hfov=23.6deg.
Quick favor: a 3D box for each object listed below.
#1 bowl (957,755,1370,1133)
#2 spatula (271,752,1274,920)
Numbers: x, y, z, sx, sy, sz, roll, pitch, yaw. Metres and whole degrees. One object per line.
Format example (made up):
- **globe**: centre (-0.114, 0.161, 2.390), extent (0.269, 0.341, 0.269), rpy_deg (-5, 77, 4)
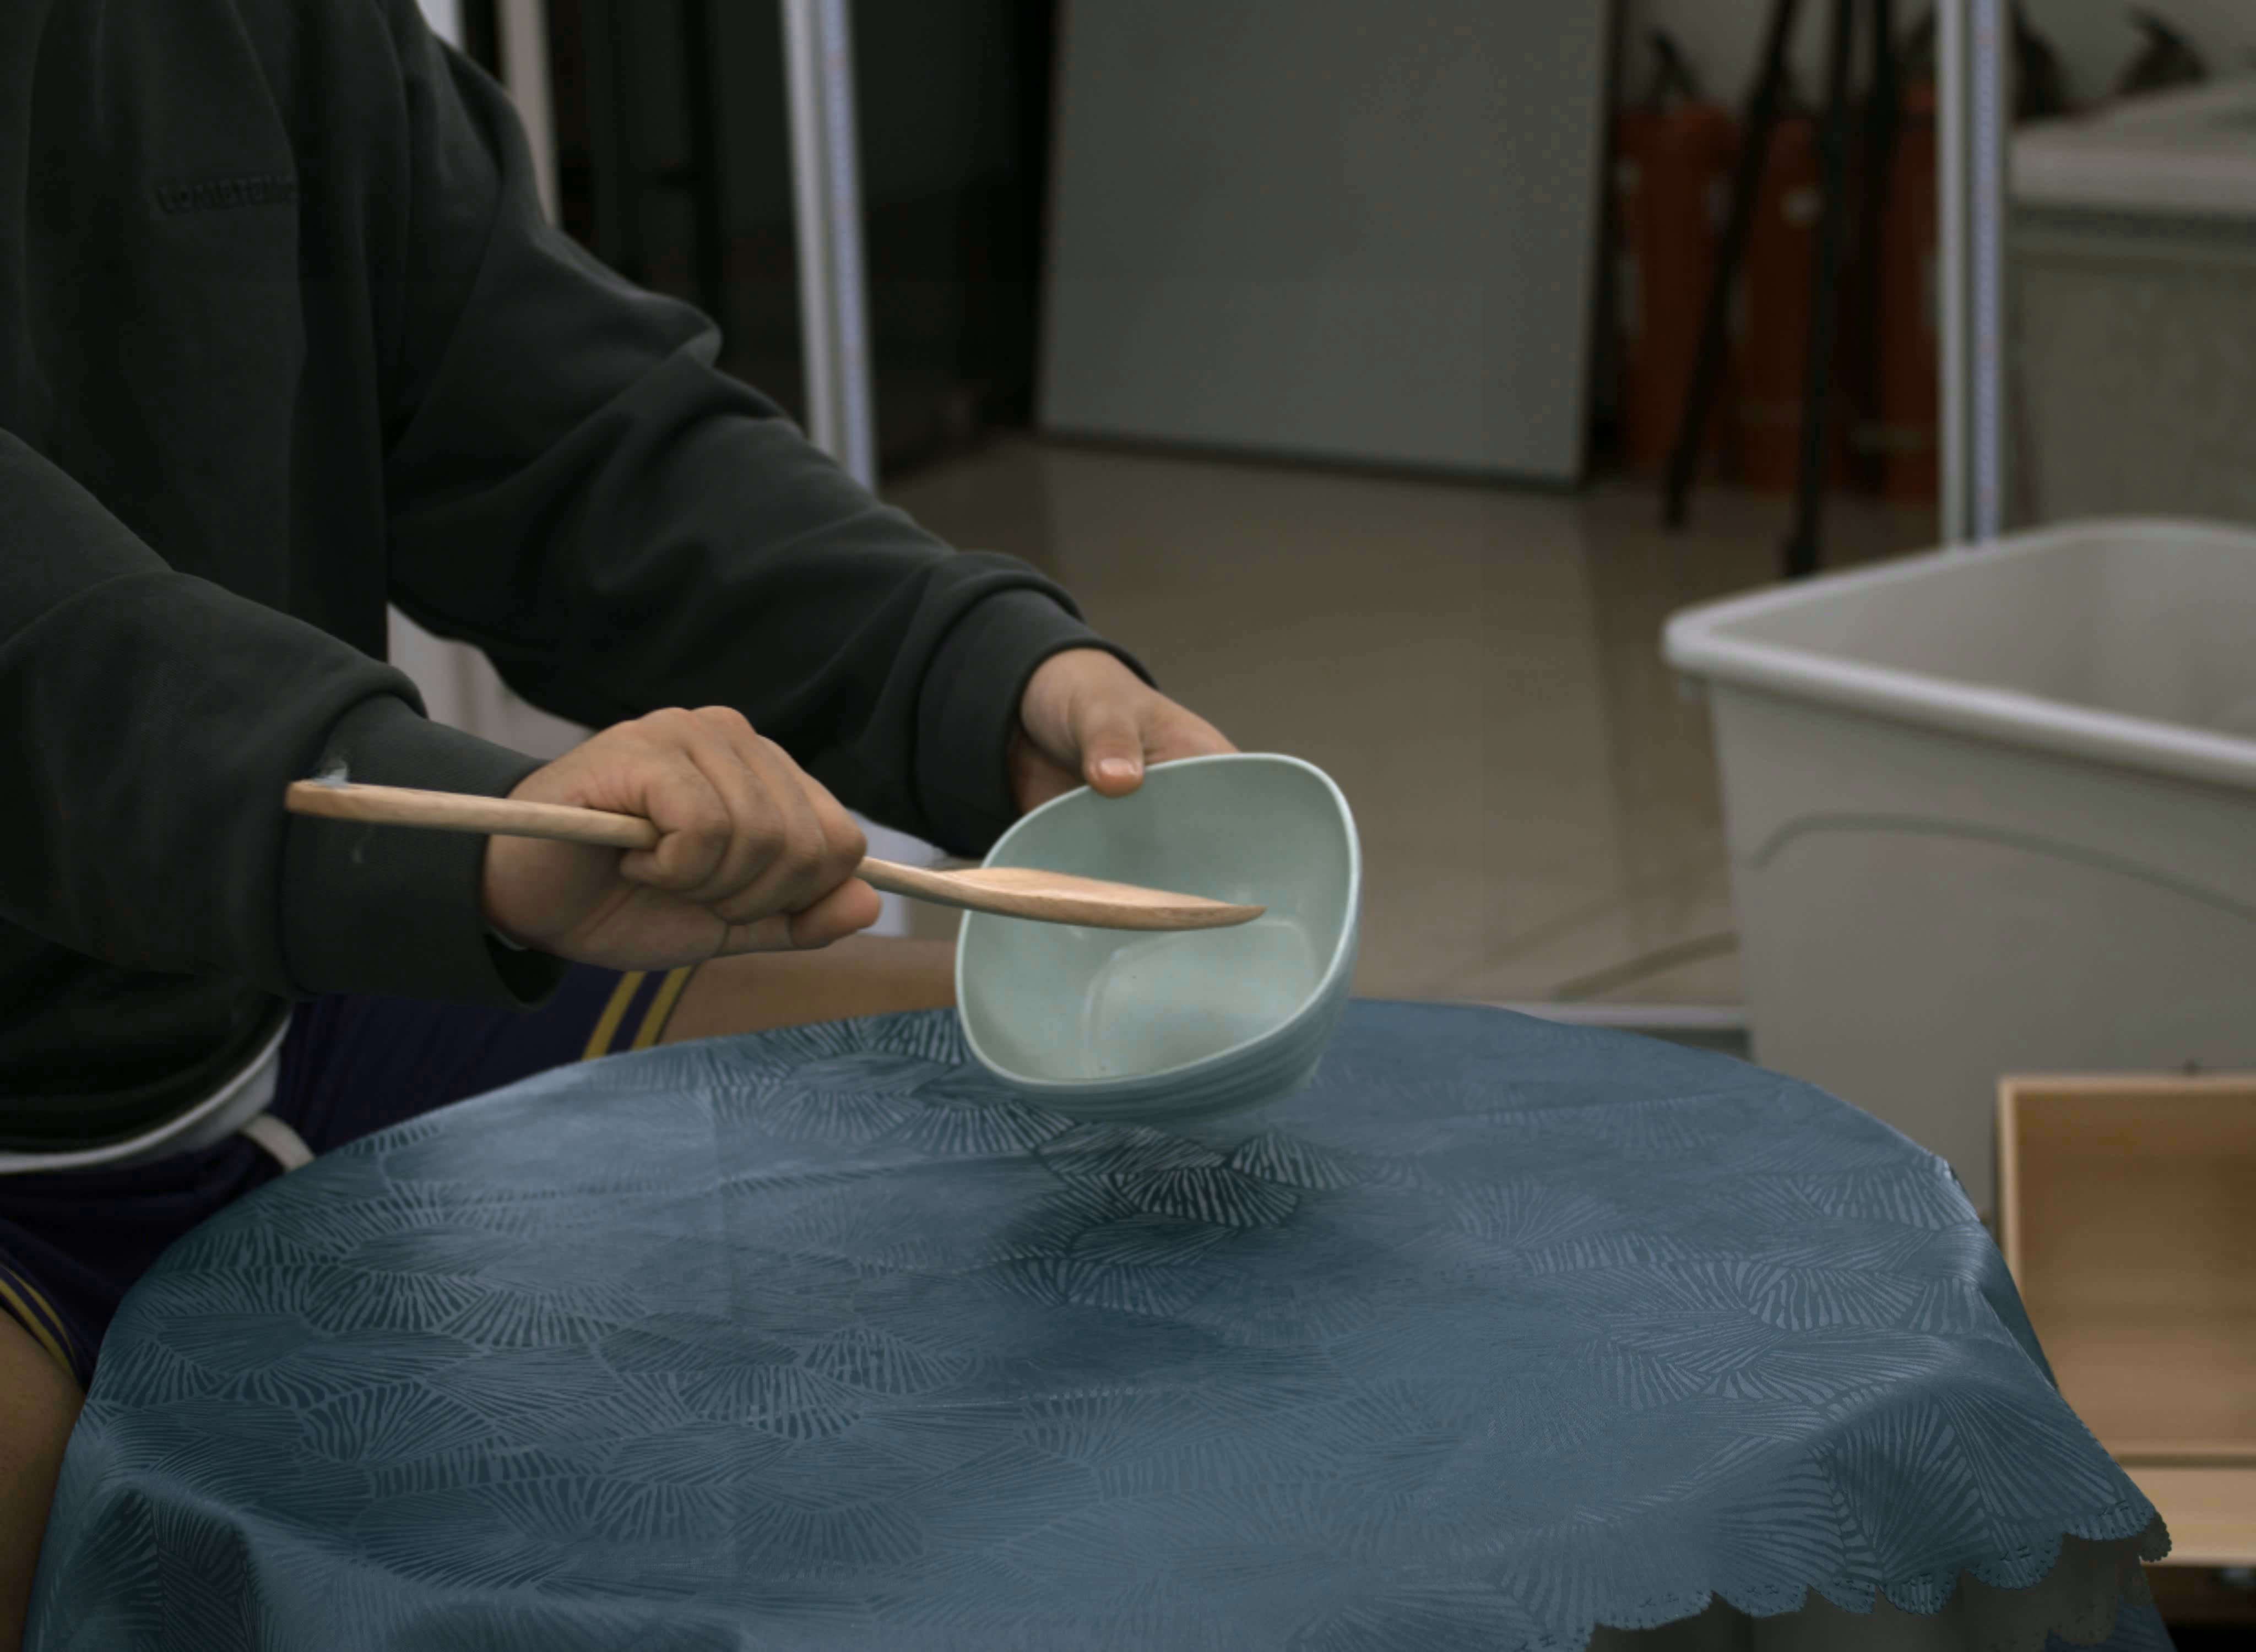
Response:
- **bowl**: centre (0.018, 0.048, 1.753), extent (0.150, 0.058, 0.153), rpy_deg (-13, 44, 12)
- **spatula**: centre (-0.099, 0.004, 1.572), extent (0.096, 0.019, 0.383), rpy_deg (6, -3, 39)
